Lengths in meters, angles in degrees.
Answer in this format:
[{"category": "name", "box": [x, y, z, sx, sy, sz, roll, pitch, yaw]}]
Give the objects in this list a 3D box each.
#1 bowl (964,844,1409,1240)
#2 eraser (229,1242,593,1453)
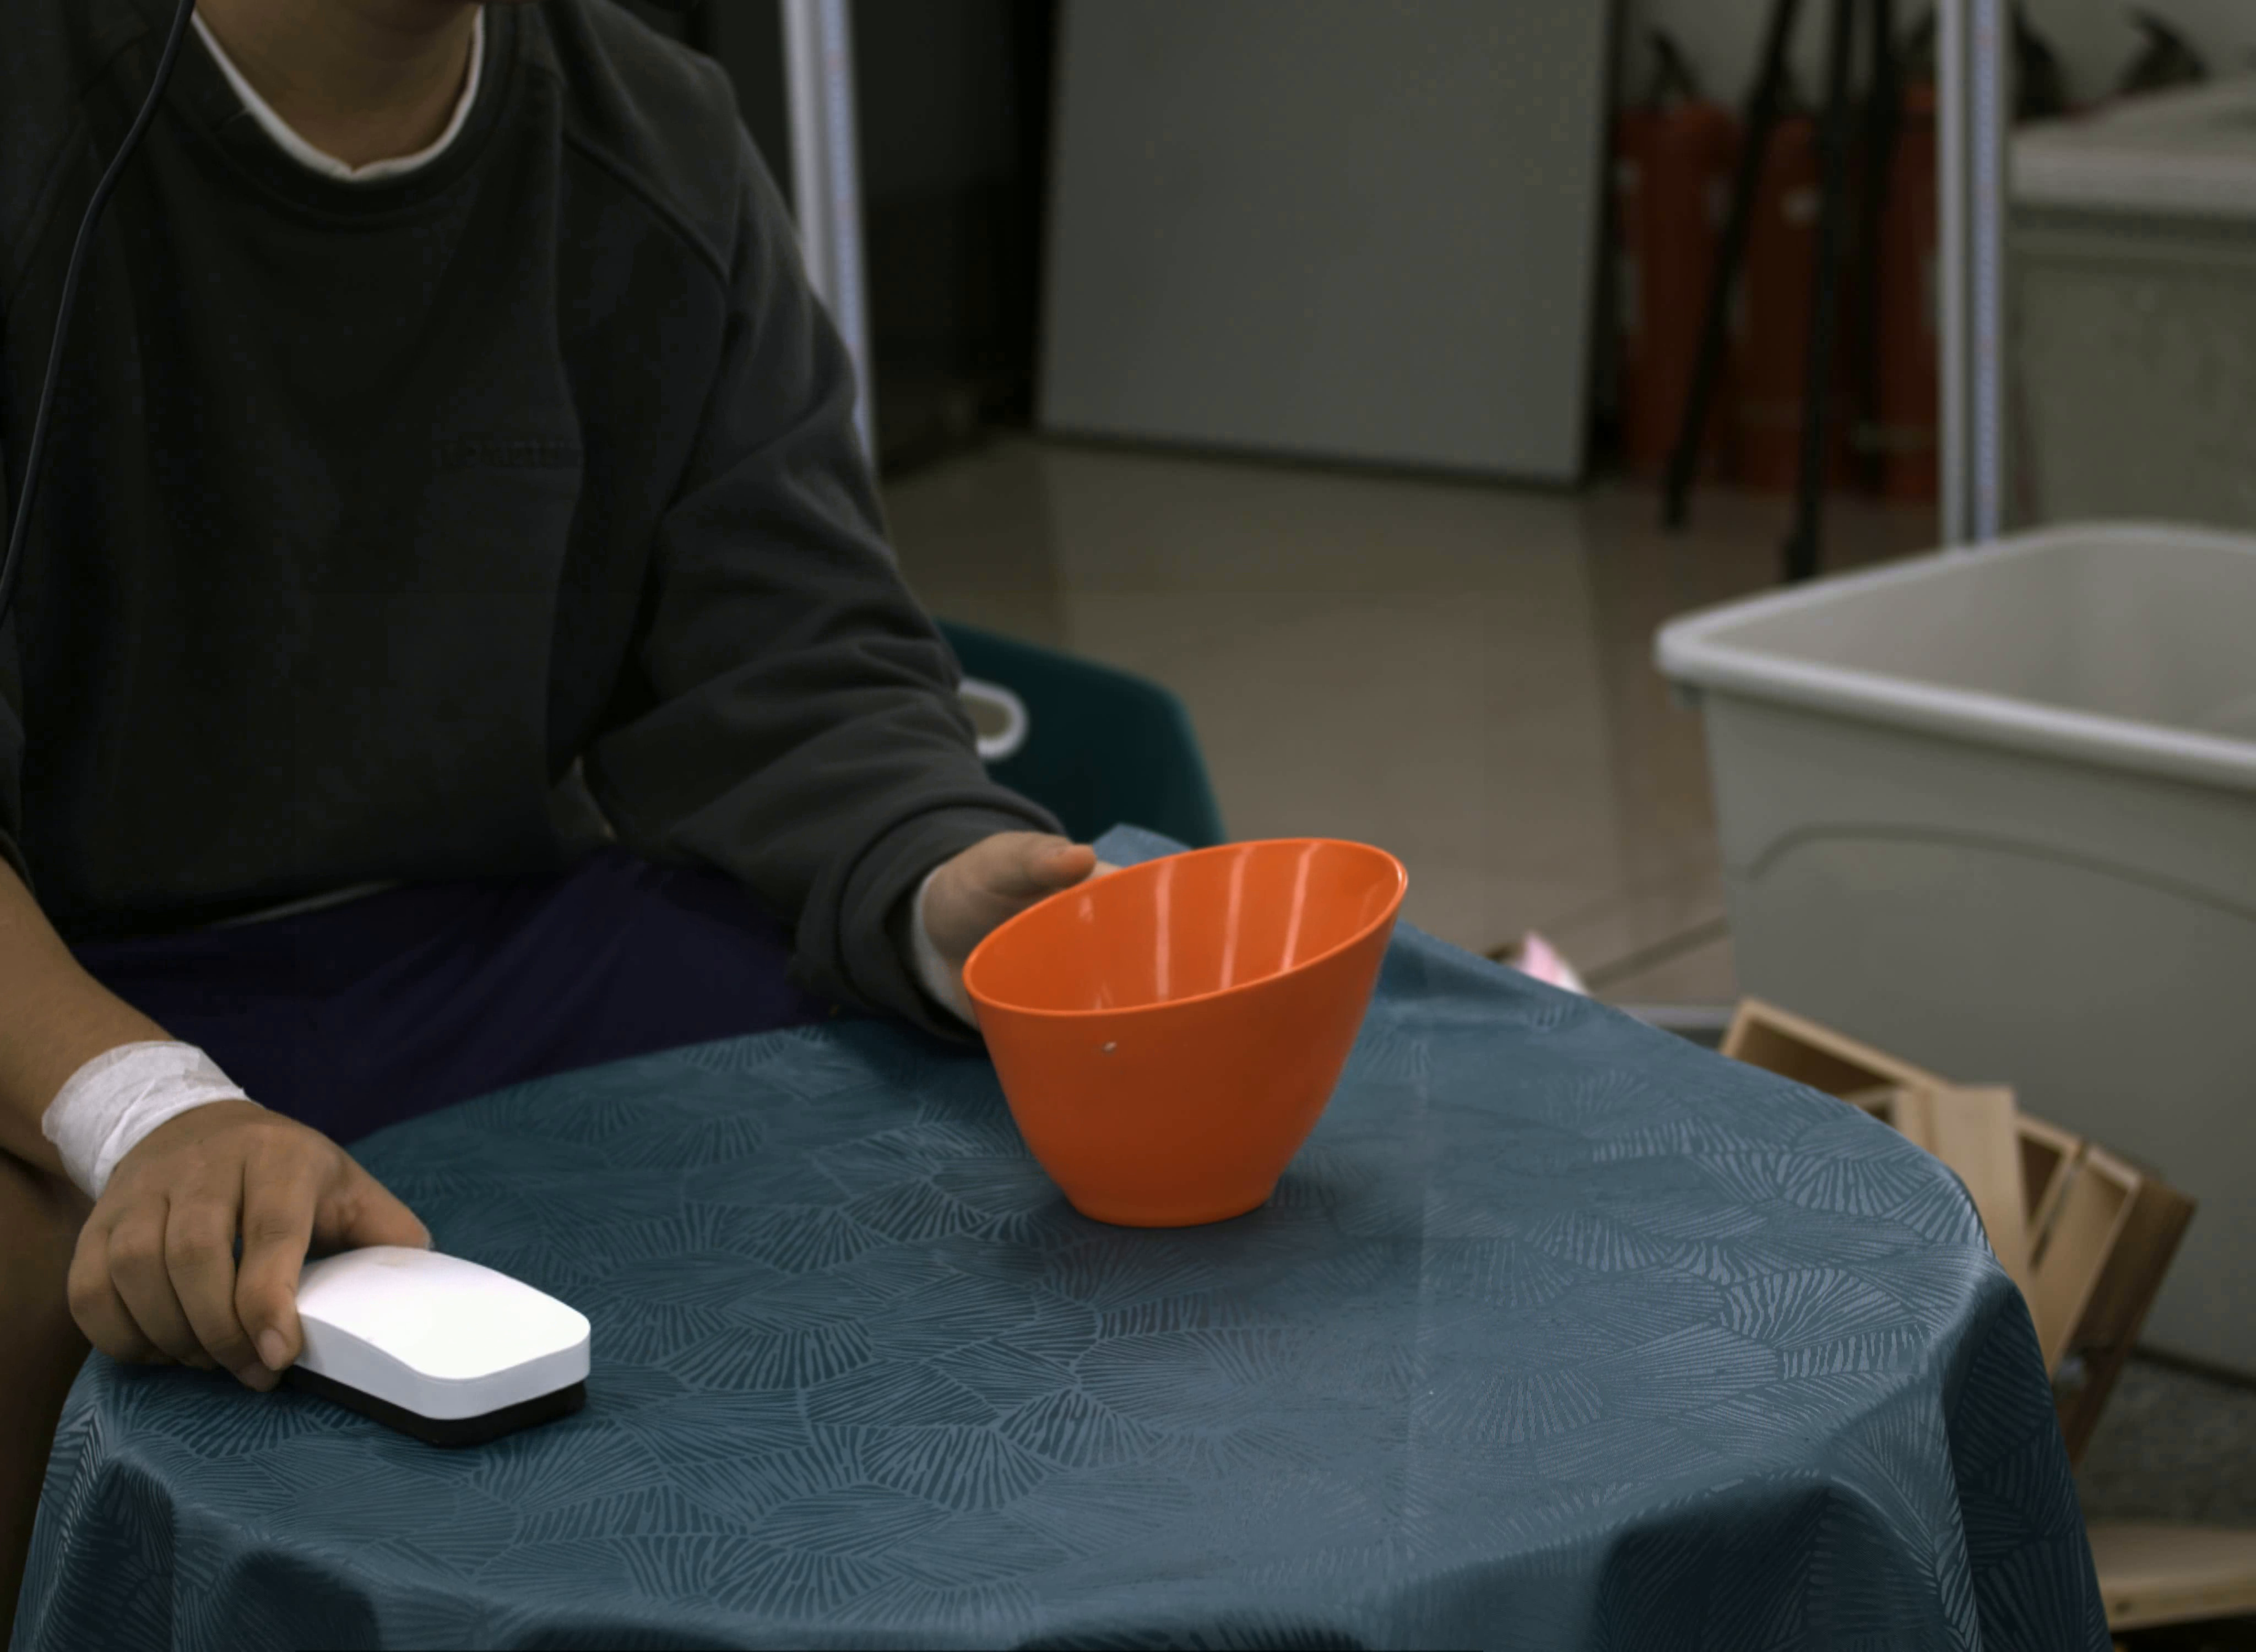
[{"category": "bowl", "box": [0.022, 0.073, 1.750, 0.146, 0.106, 0.148, -5, 14, 0]}, {"category": "eraser", "box": [-0.215, 0.153, 1.630, 0.062, 0.035, 0.132, -13, 18, -37]}]
